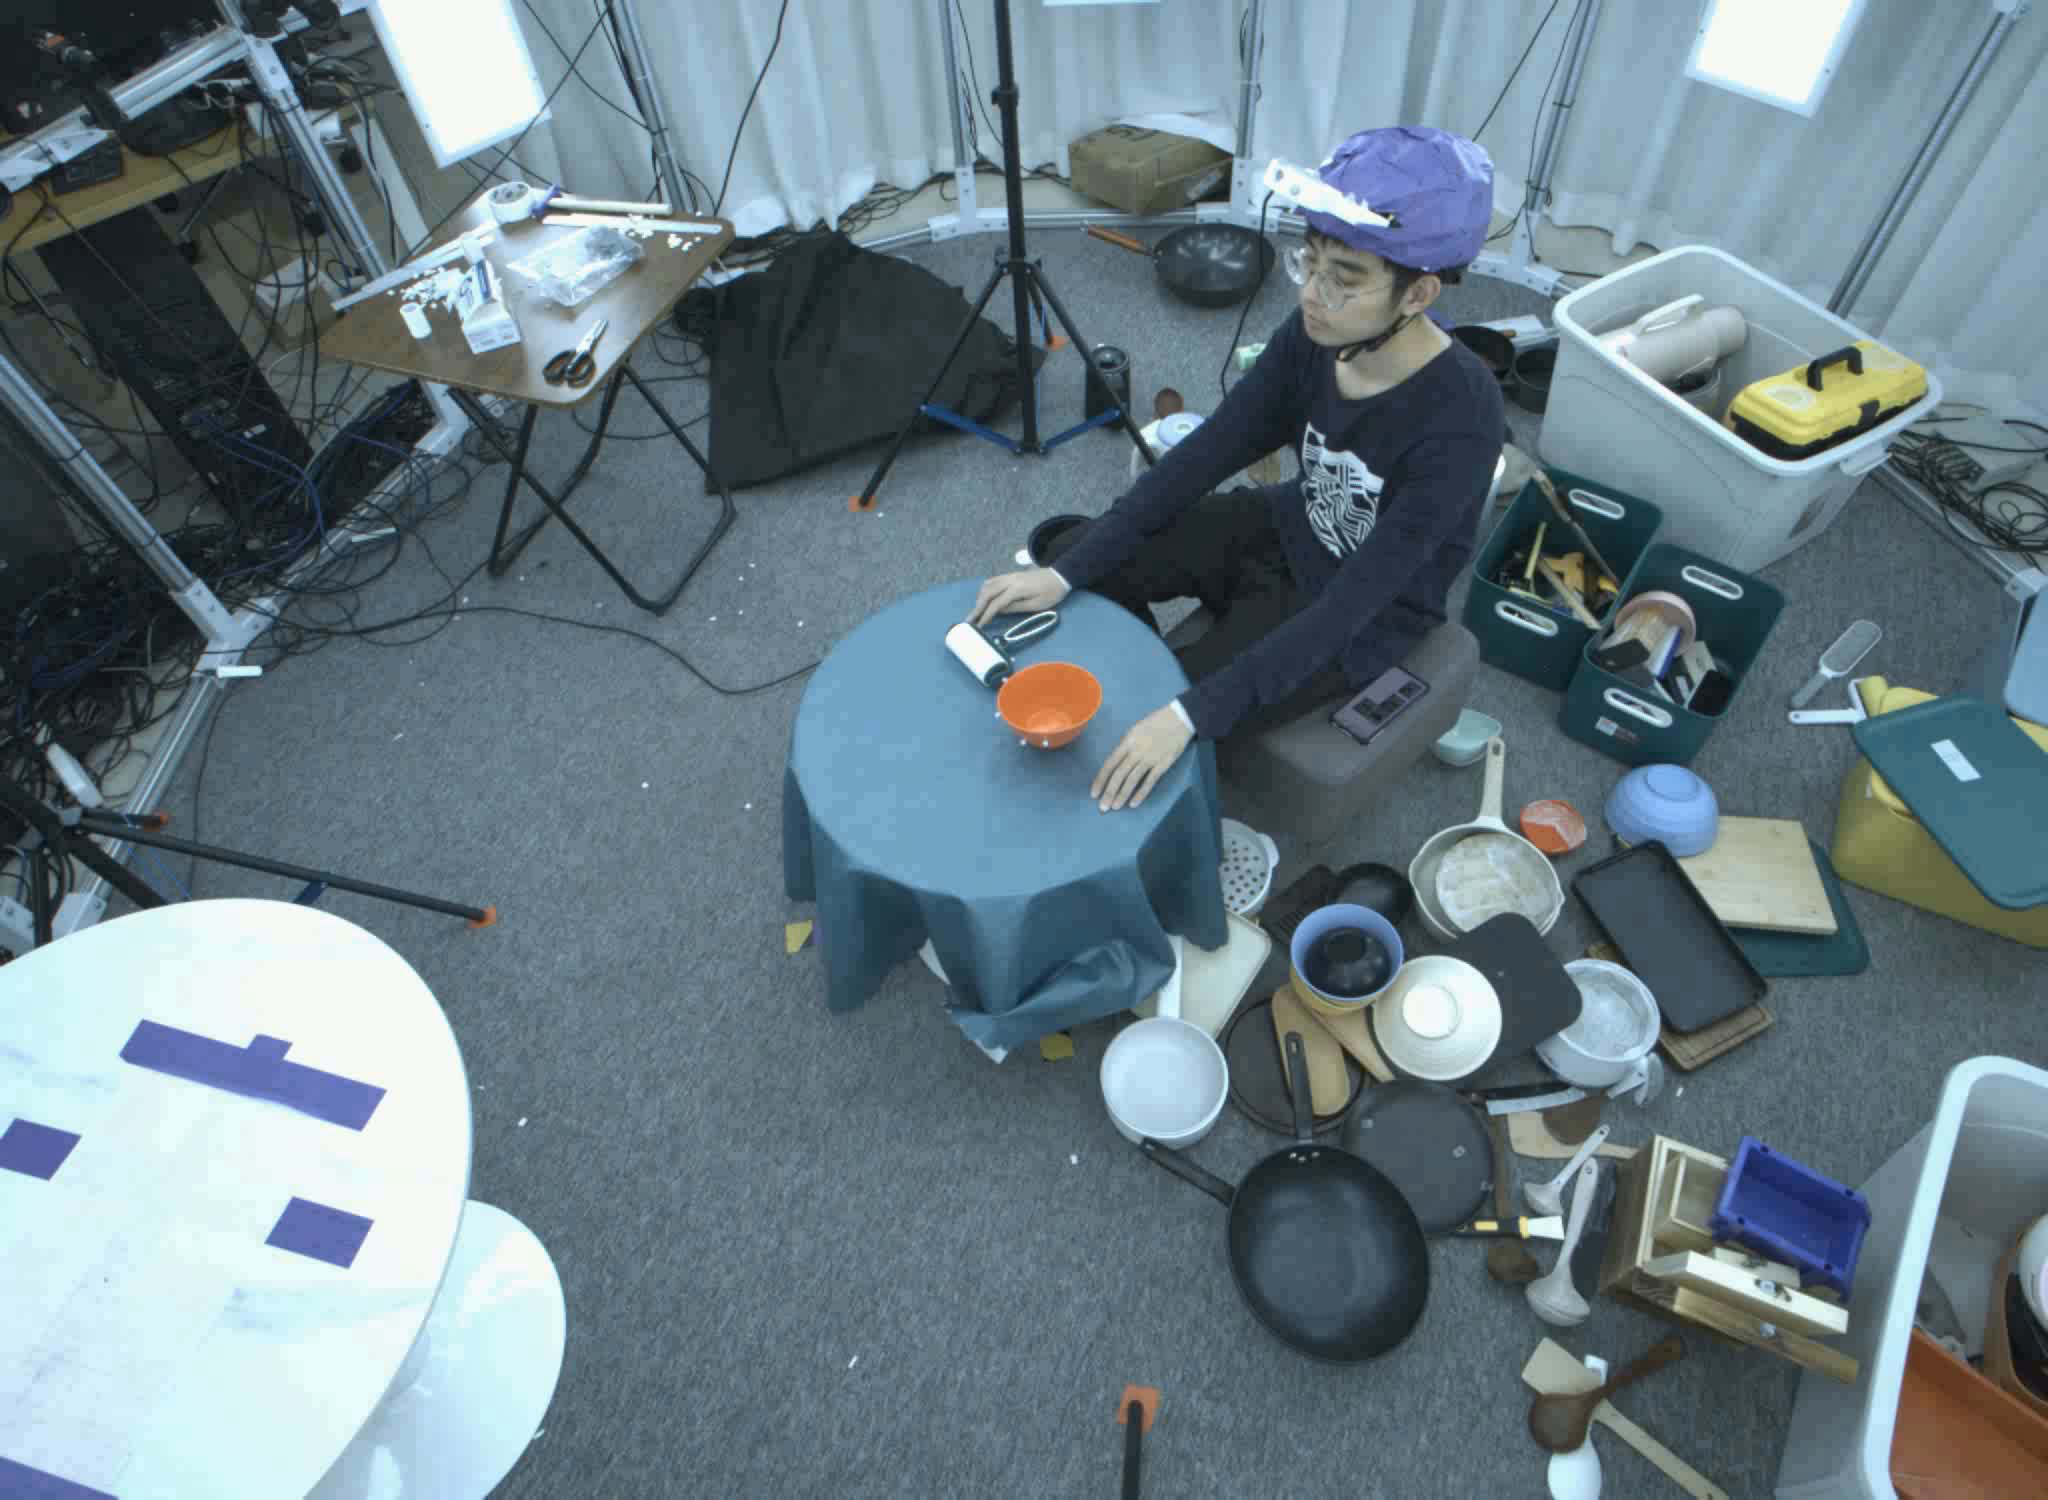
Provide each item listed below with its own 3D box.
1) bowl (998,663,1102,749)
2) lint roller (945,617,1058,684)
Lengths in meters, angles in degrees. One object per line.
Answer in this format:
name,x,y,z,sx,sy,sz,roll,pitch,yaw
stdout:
bowl,0.037,-0.050,1.773,0.148,0.105,0.146,1,53,0
lint roller,-0.020,-0.178,1.900,0.182,0.049,0.132,-30,58,-24
